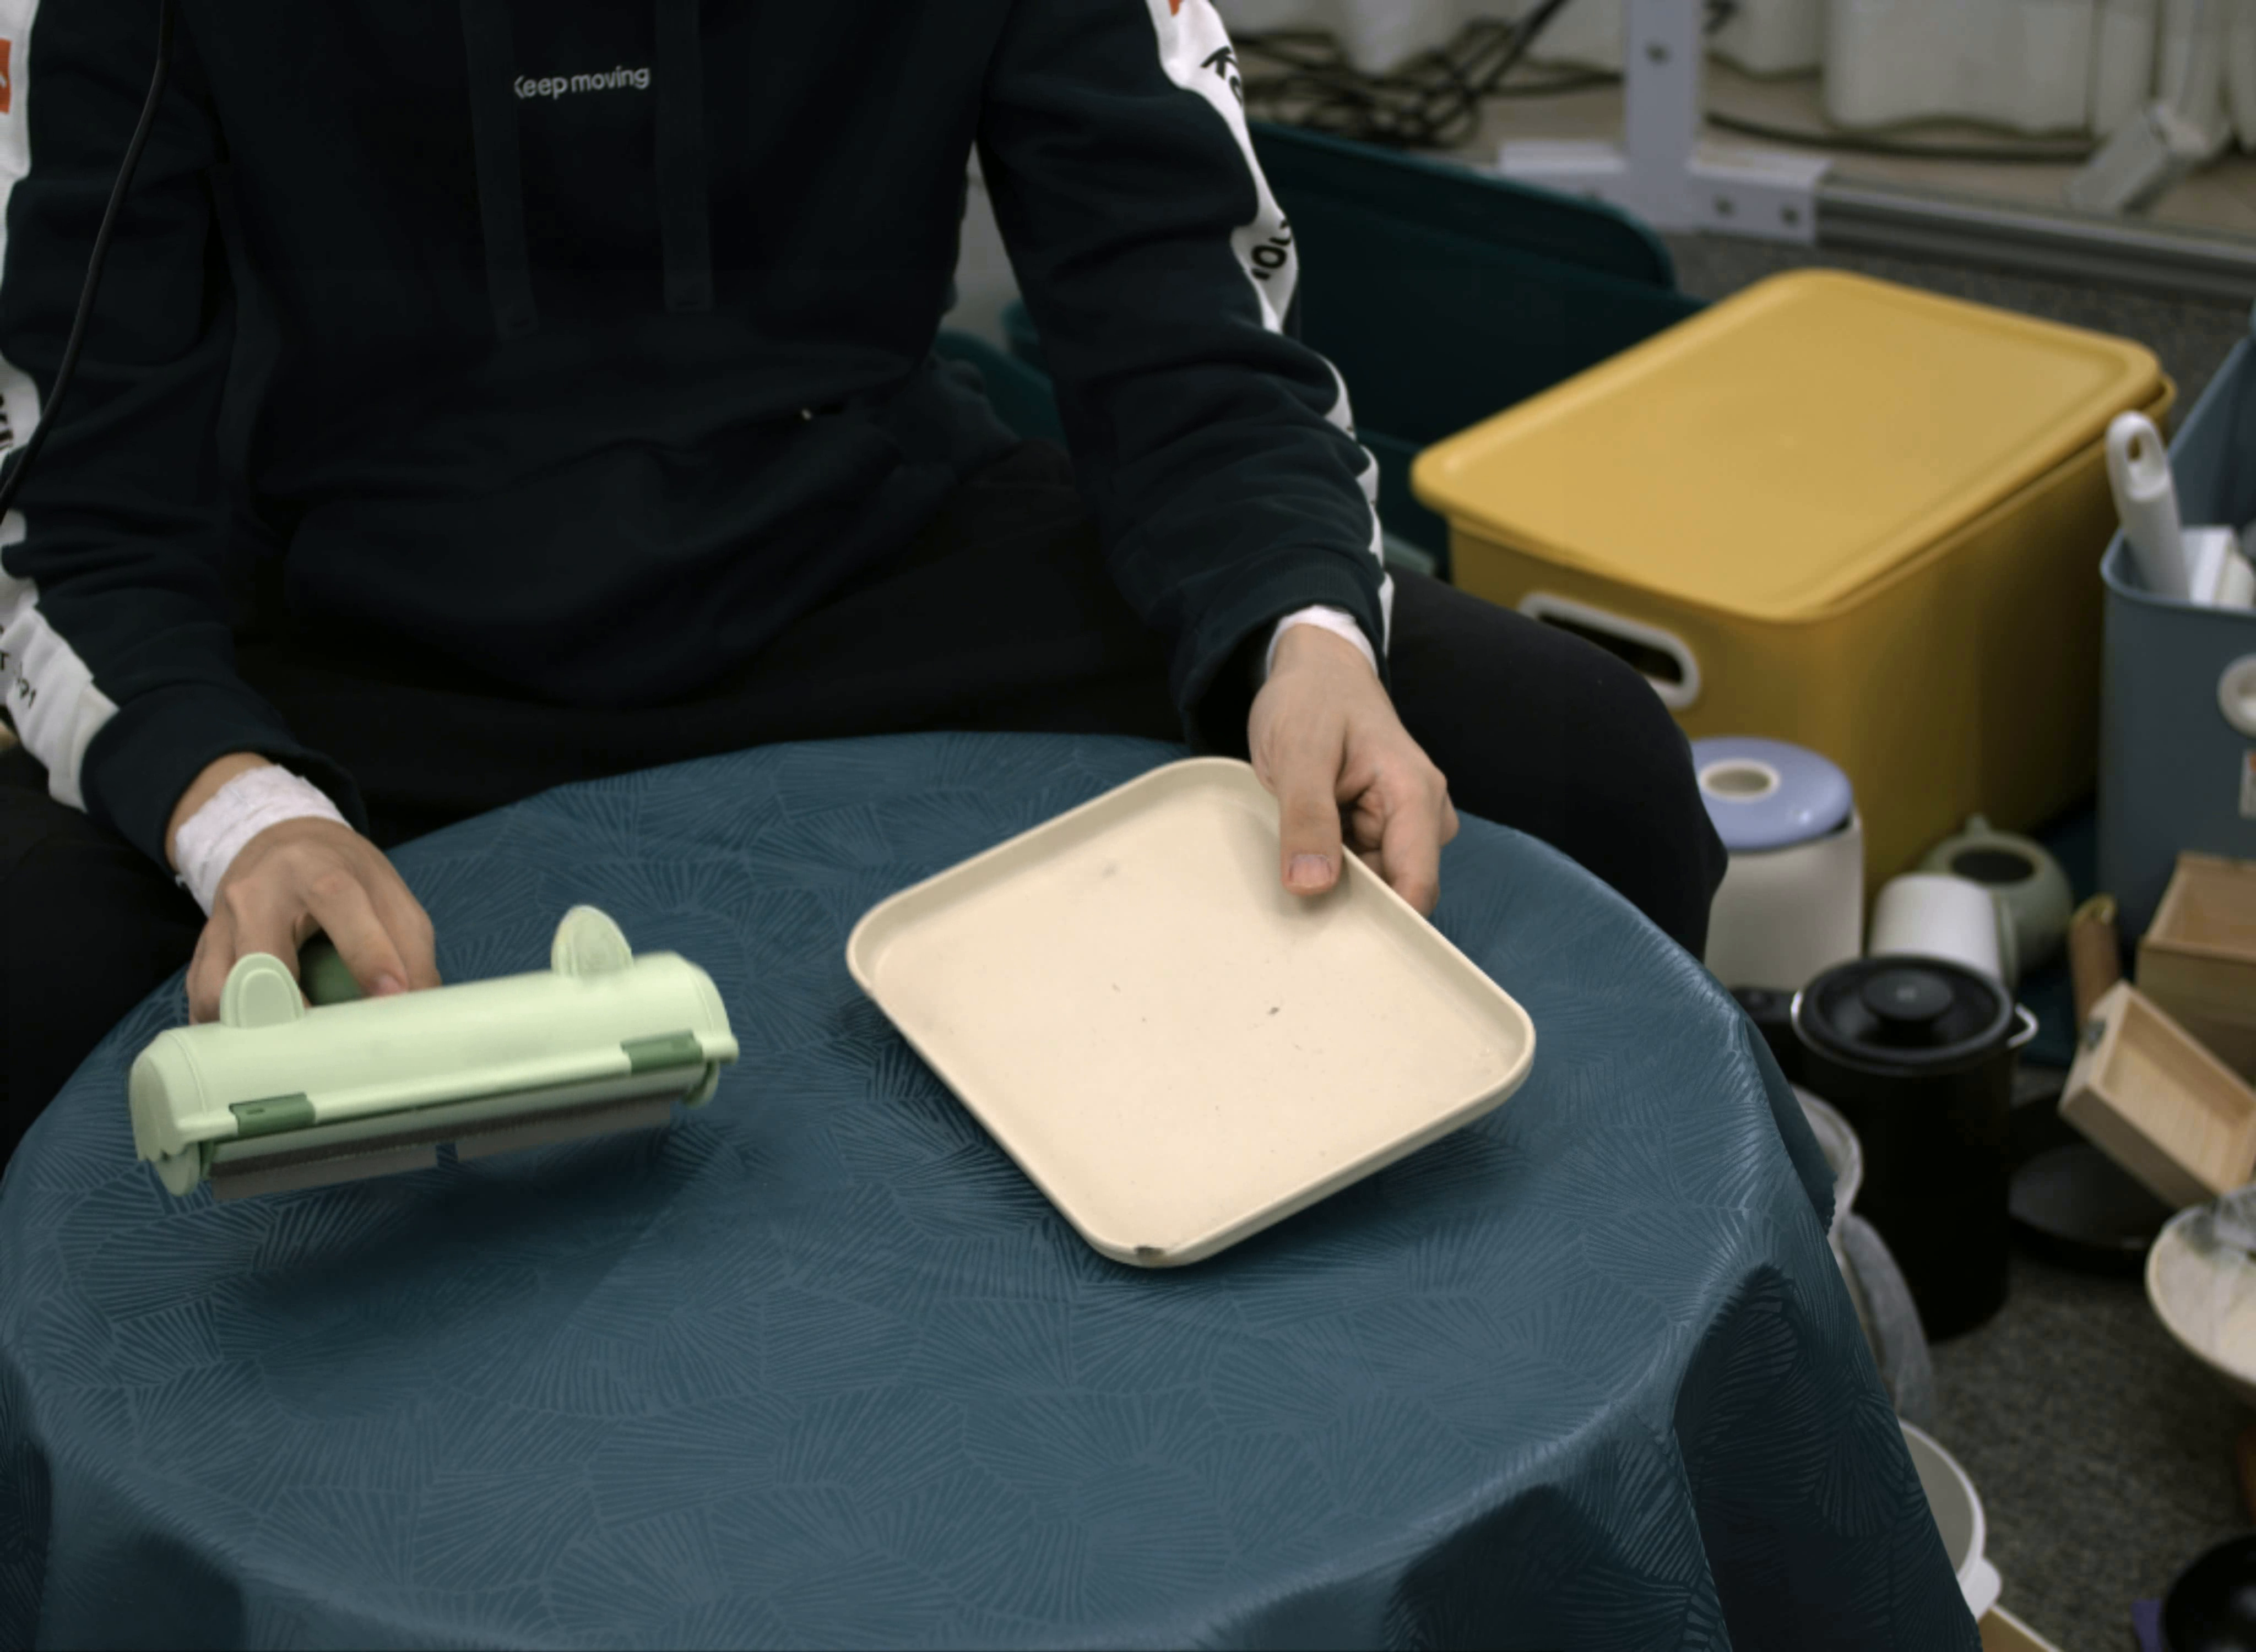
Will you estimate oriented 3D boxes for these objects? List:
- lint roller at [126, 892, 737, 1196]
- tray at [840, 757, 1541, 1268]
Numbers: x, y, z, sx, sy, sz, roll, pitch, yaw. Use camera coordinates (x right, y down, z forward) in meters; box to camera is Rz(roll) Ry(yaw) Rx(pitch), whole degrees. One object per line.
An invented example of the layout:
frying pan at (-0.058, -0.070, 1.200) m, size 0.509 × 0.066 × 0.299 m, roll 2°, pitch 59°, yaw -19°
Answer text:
lint roller at (-0.253, 0.052, 1.885) m, size 0.199 × 0.081 × 0.184 m, roll -9°, pitch 26°, yaw -27°
tray at (0.019, 0.062, 1.913) m, size 0.172 × 0.017 × 0.241 m, roll -25°, pitch 37°, yaw -18°
